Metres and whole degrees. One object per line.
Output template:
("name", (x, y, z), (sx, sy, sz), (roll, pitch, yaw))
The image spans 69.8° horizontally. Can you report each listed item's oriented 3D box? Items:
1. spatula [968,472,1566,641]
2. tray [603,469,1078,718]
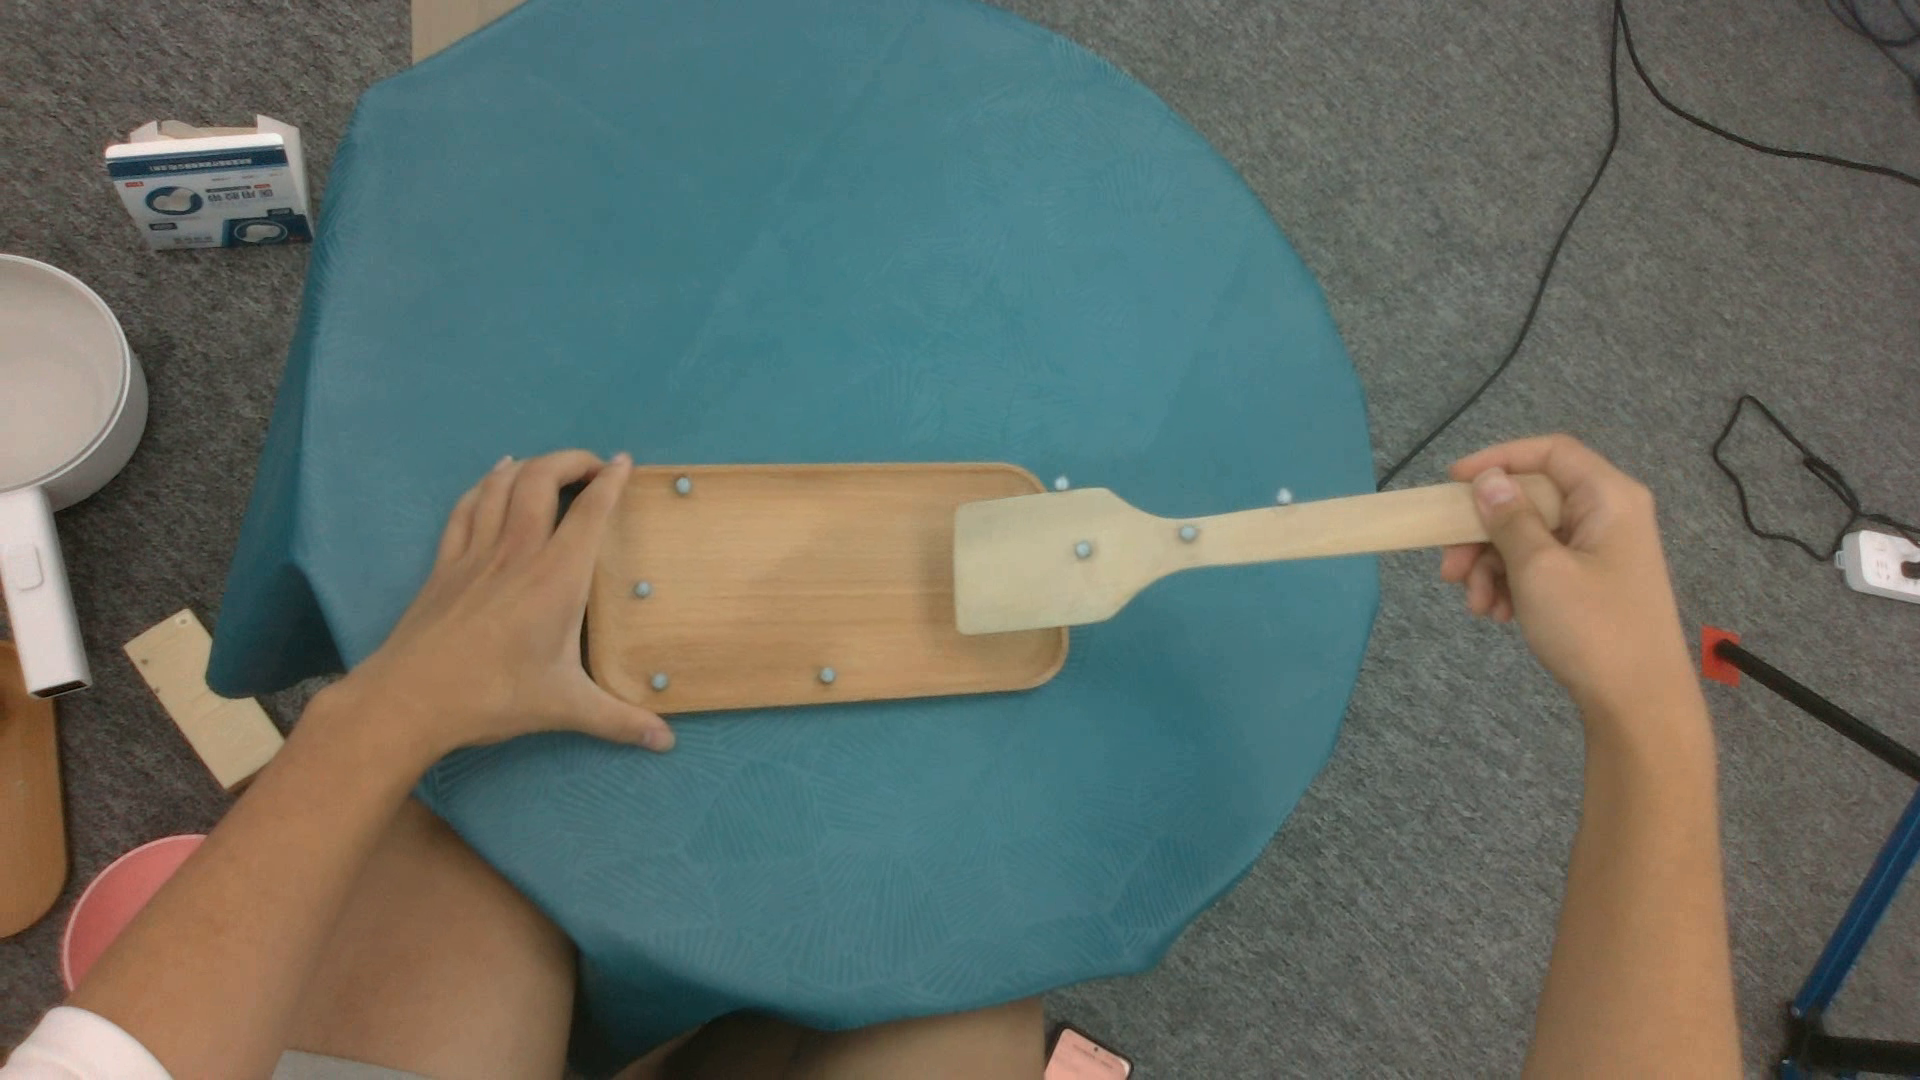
("spatula", (0.135, 0.000, 0.667), (0.292, 0.010, 0.072), (-8, 76, 26))
("tray", (-0.060, 0.025, 0.733), (0.251, 0.023, 0.131), (0, 77, -17))
